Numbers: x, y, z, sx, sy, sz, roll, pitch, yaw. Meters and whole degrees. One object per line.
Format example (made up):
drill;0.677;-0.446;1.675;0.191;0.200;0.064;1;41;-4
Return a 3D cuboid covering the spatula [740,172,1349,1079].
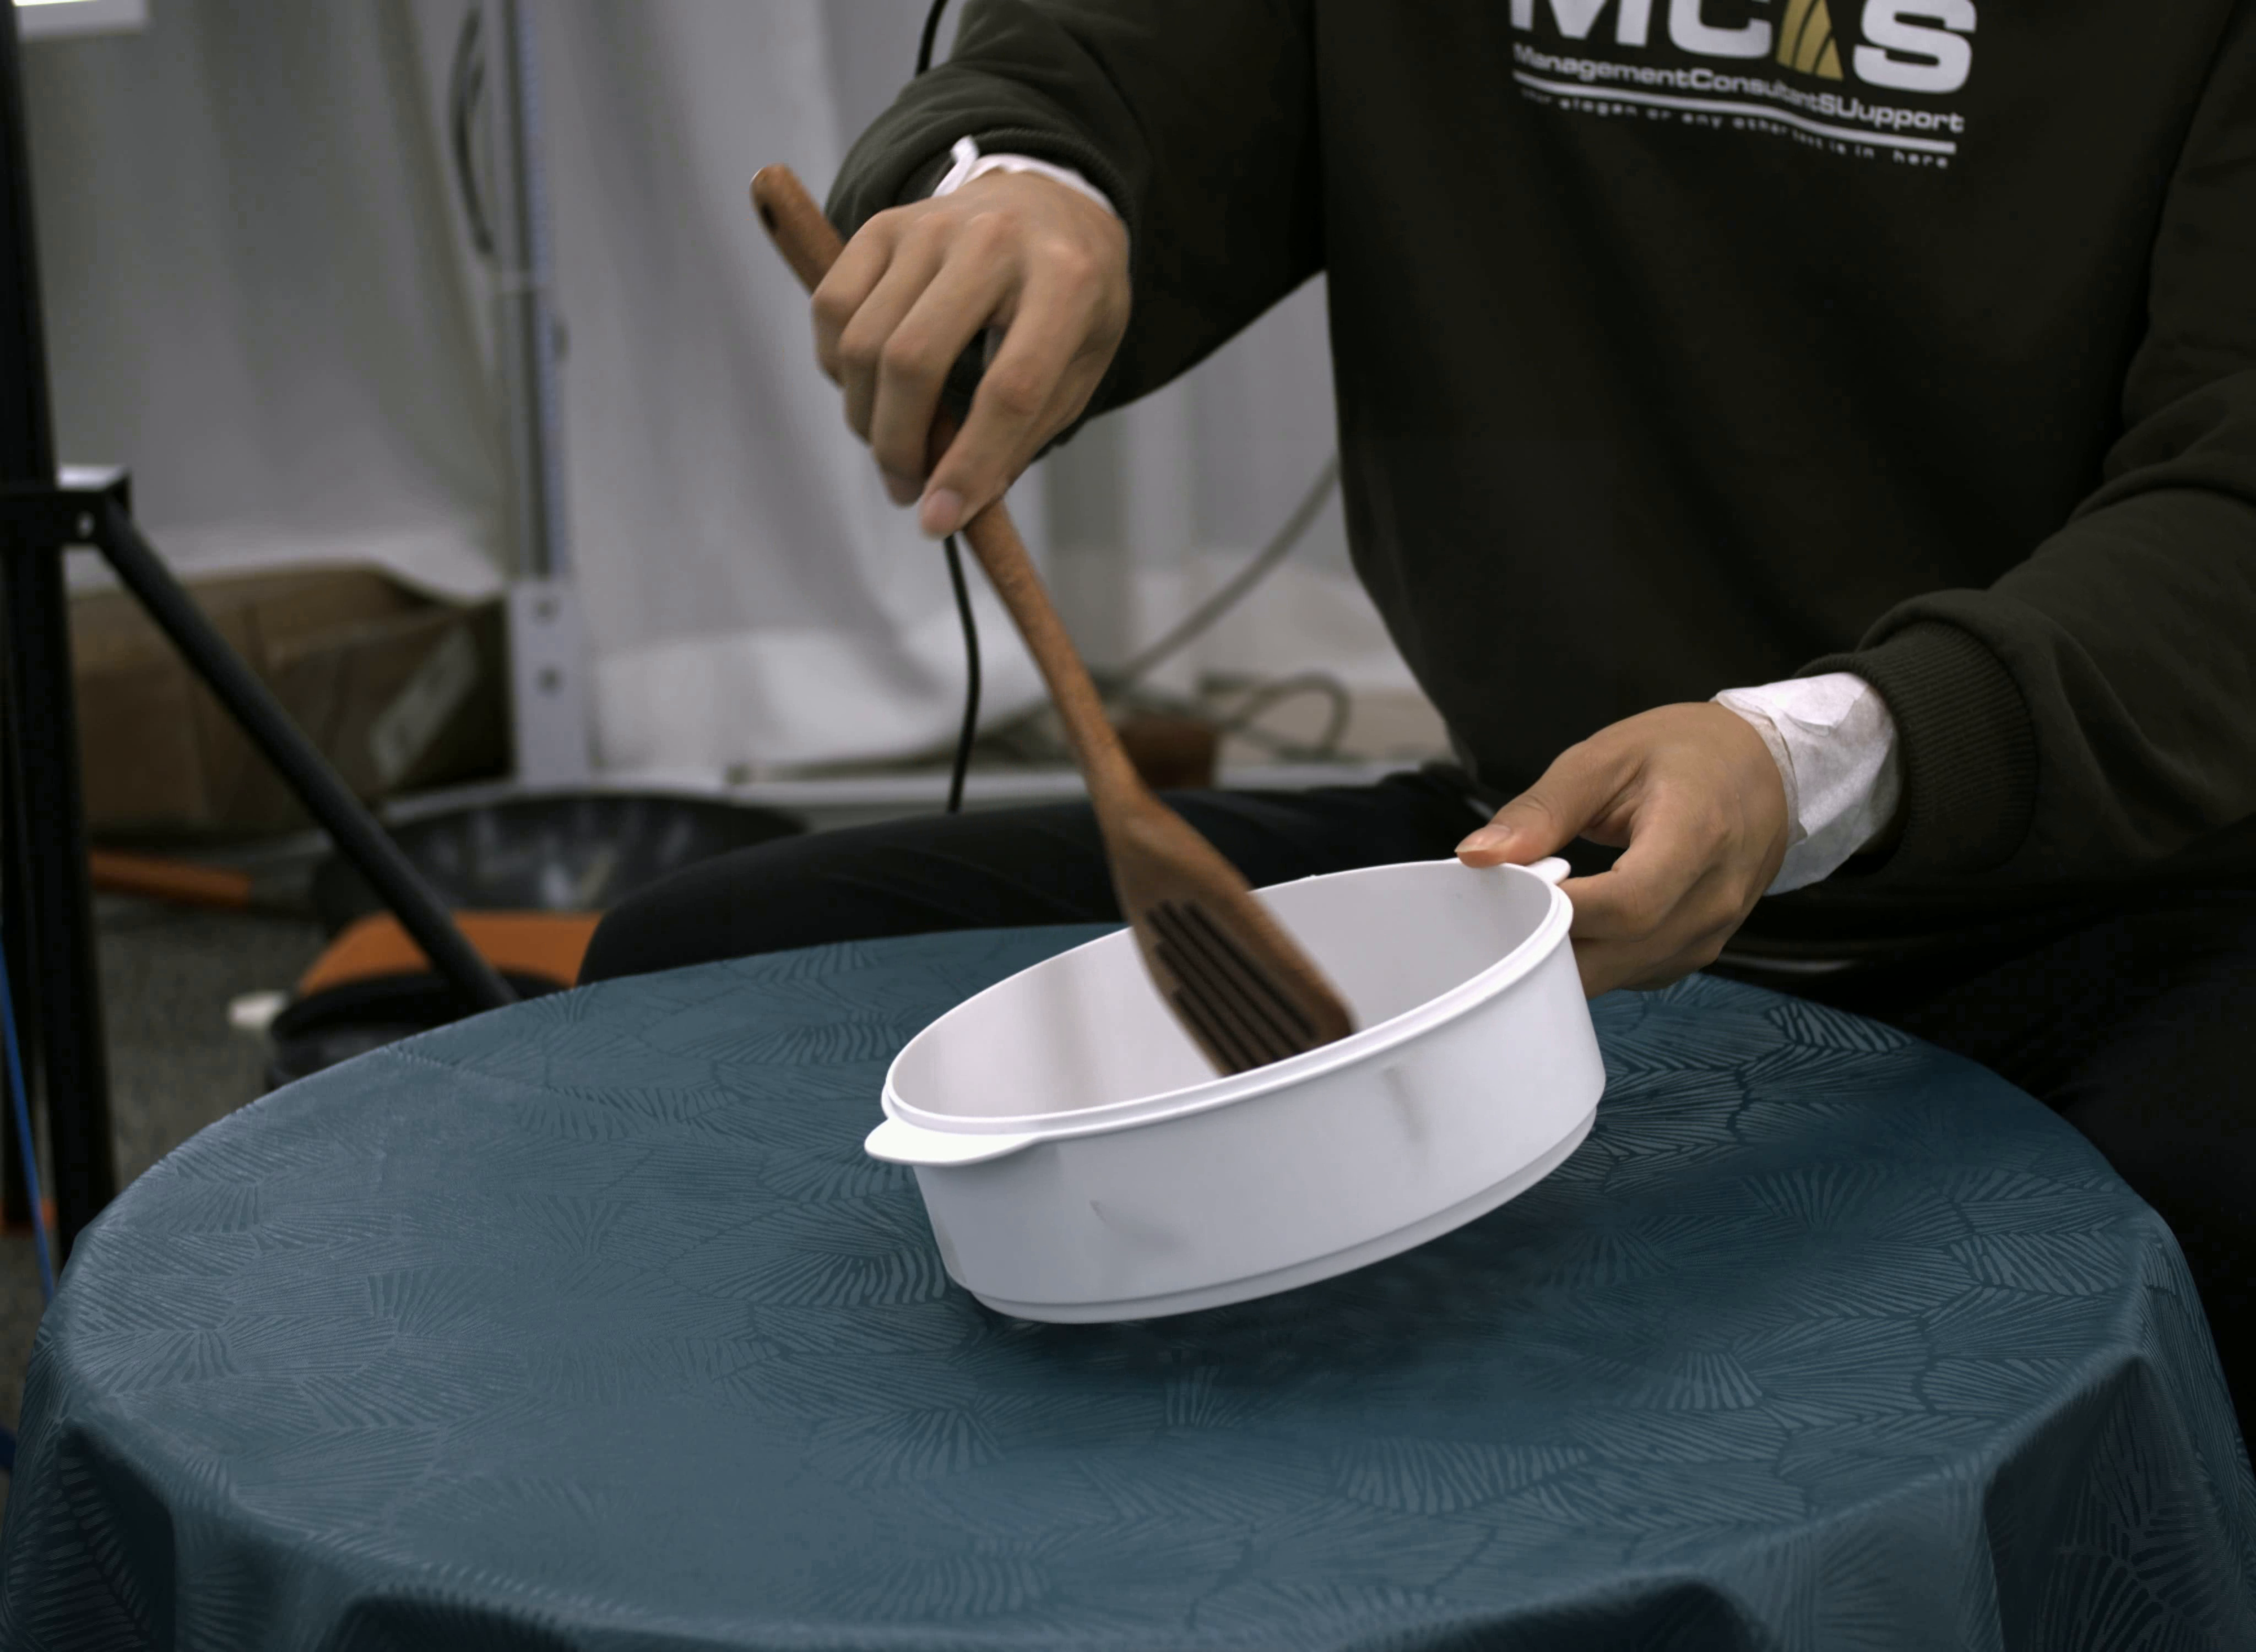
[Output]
spatula;-0.032;-0.057;1.535;0.023;0.085;0.393;-19;55;-16

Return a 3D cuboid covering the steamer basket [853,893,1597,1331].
steamer basket;0.032;0.080;1.483;0.226;0.069;0.206;-20;14;-32
